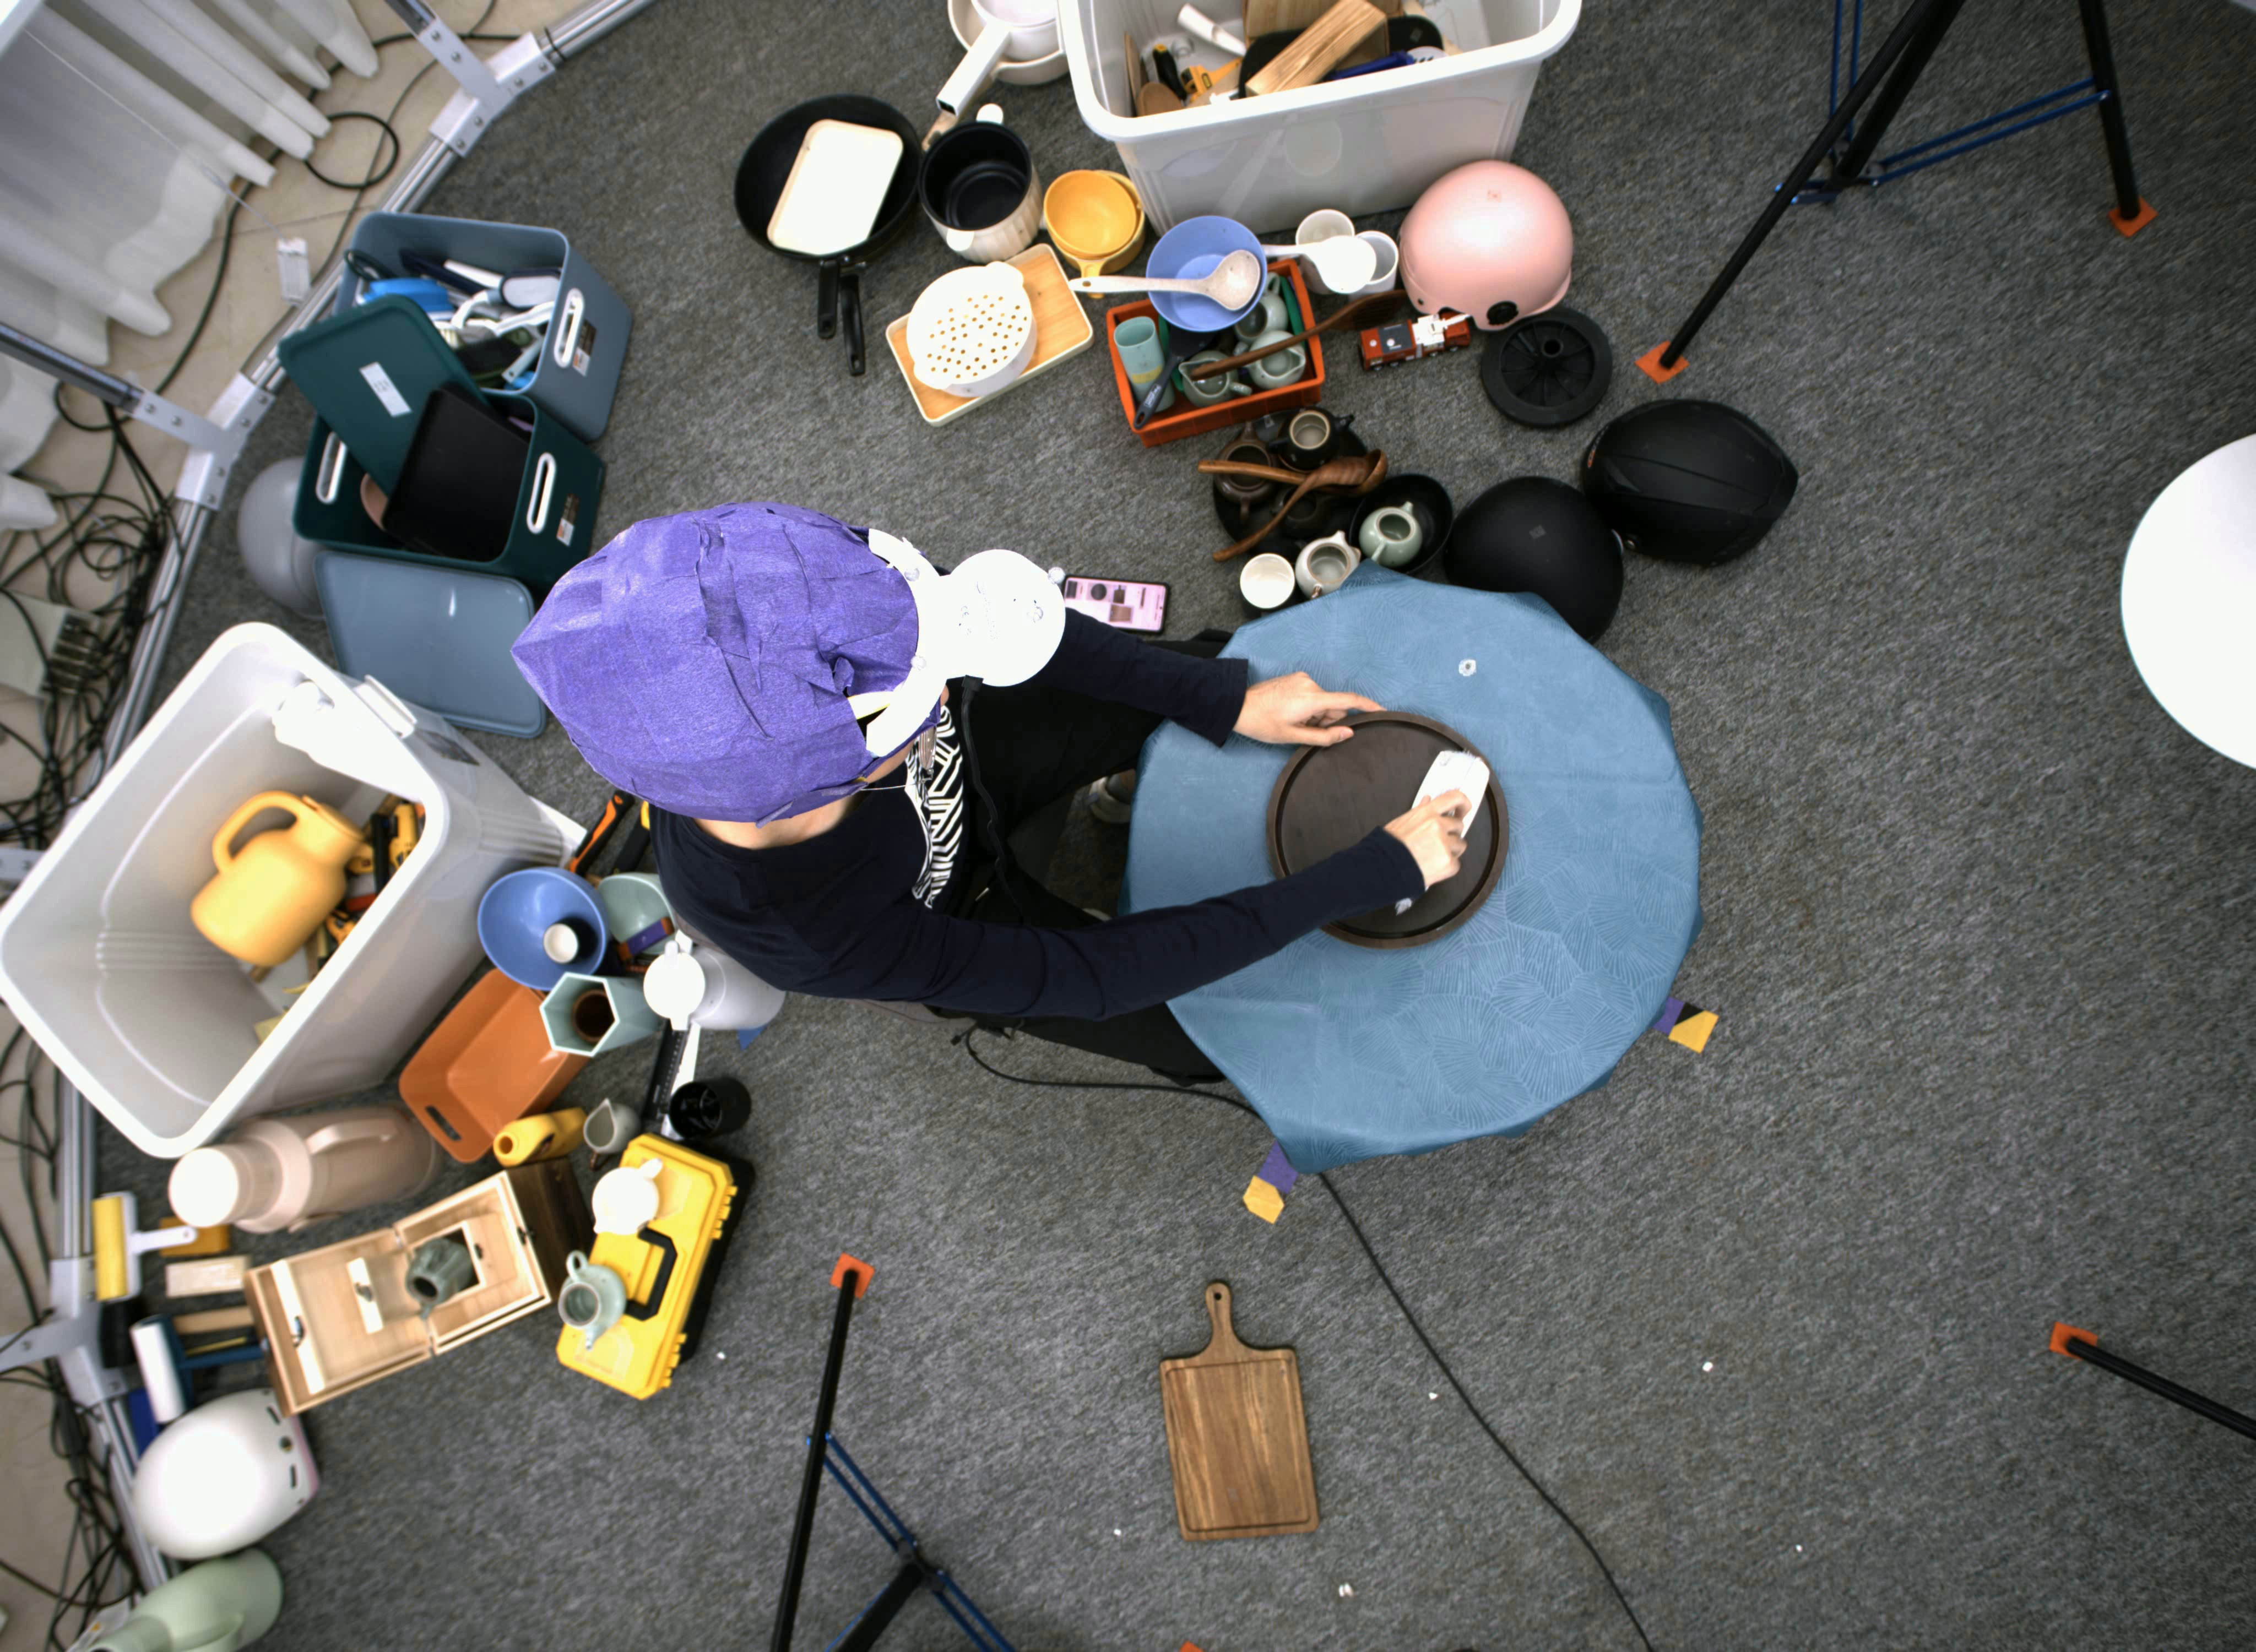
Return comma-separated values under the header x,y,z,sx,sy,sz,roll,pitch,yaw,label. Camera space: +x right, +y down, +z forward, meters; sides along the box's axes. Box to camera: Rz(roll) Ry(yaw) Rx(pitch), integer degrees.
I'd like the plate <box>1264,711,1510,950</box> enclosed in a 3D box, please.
x,y,z,sx,sy,sz,roll,pitch,yaw,label
0.271,0.004,1.450,0.256,0.029,0.254,-1,87,9,plate

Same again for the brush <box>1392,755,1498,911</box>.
x,y,z,sx,sy,sz,roll,pitch,yaw,label
0.309,0.007,1.385,0.061,0.094,0.176,30,96,14,brush
